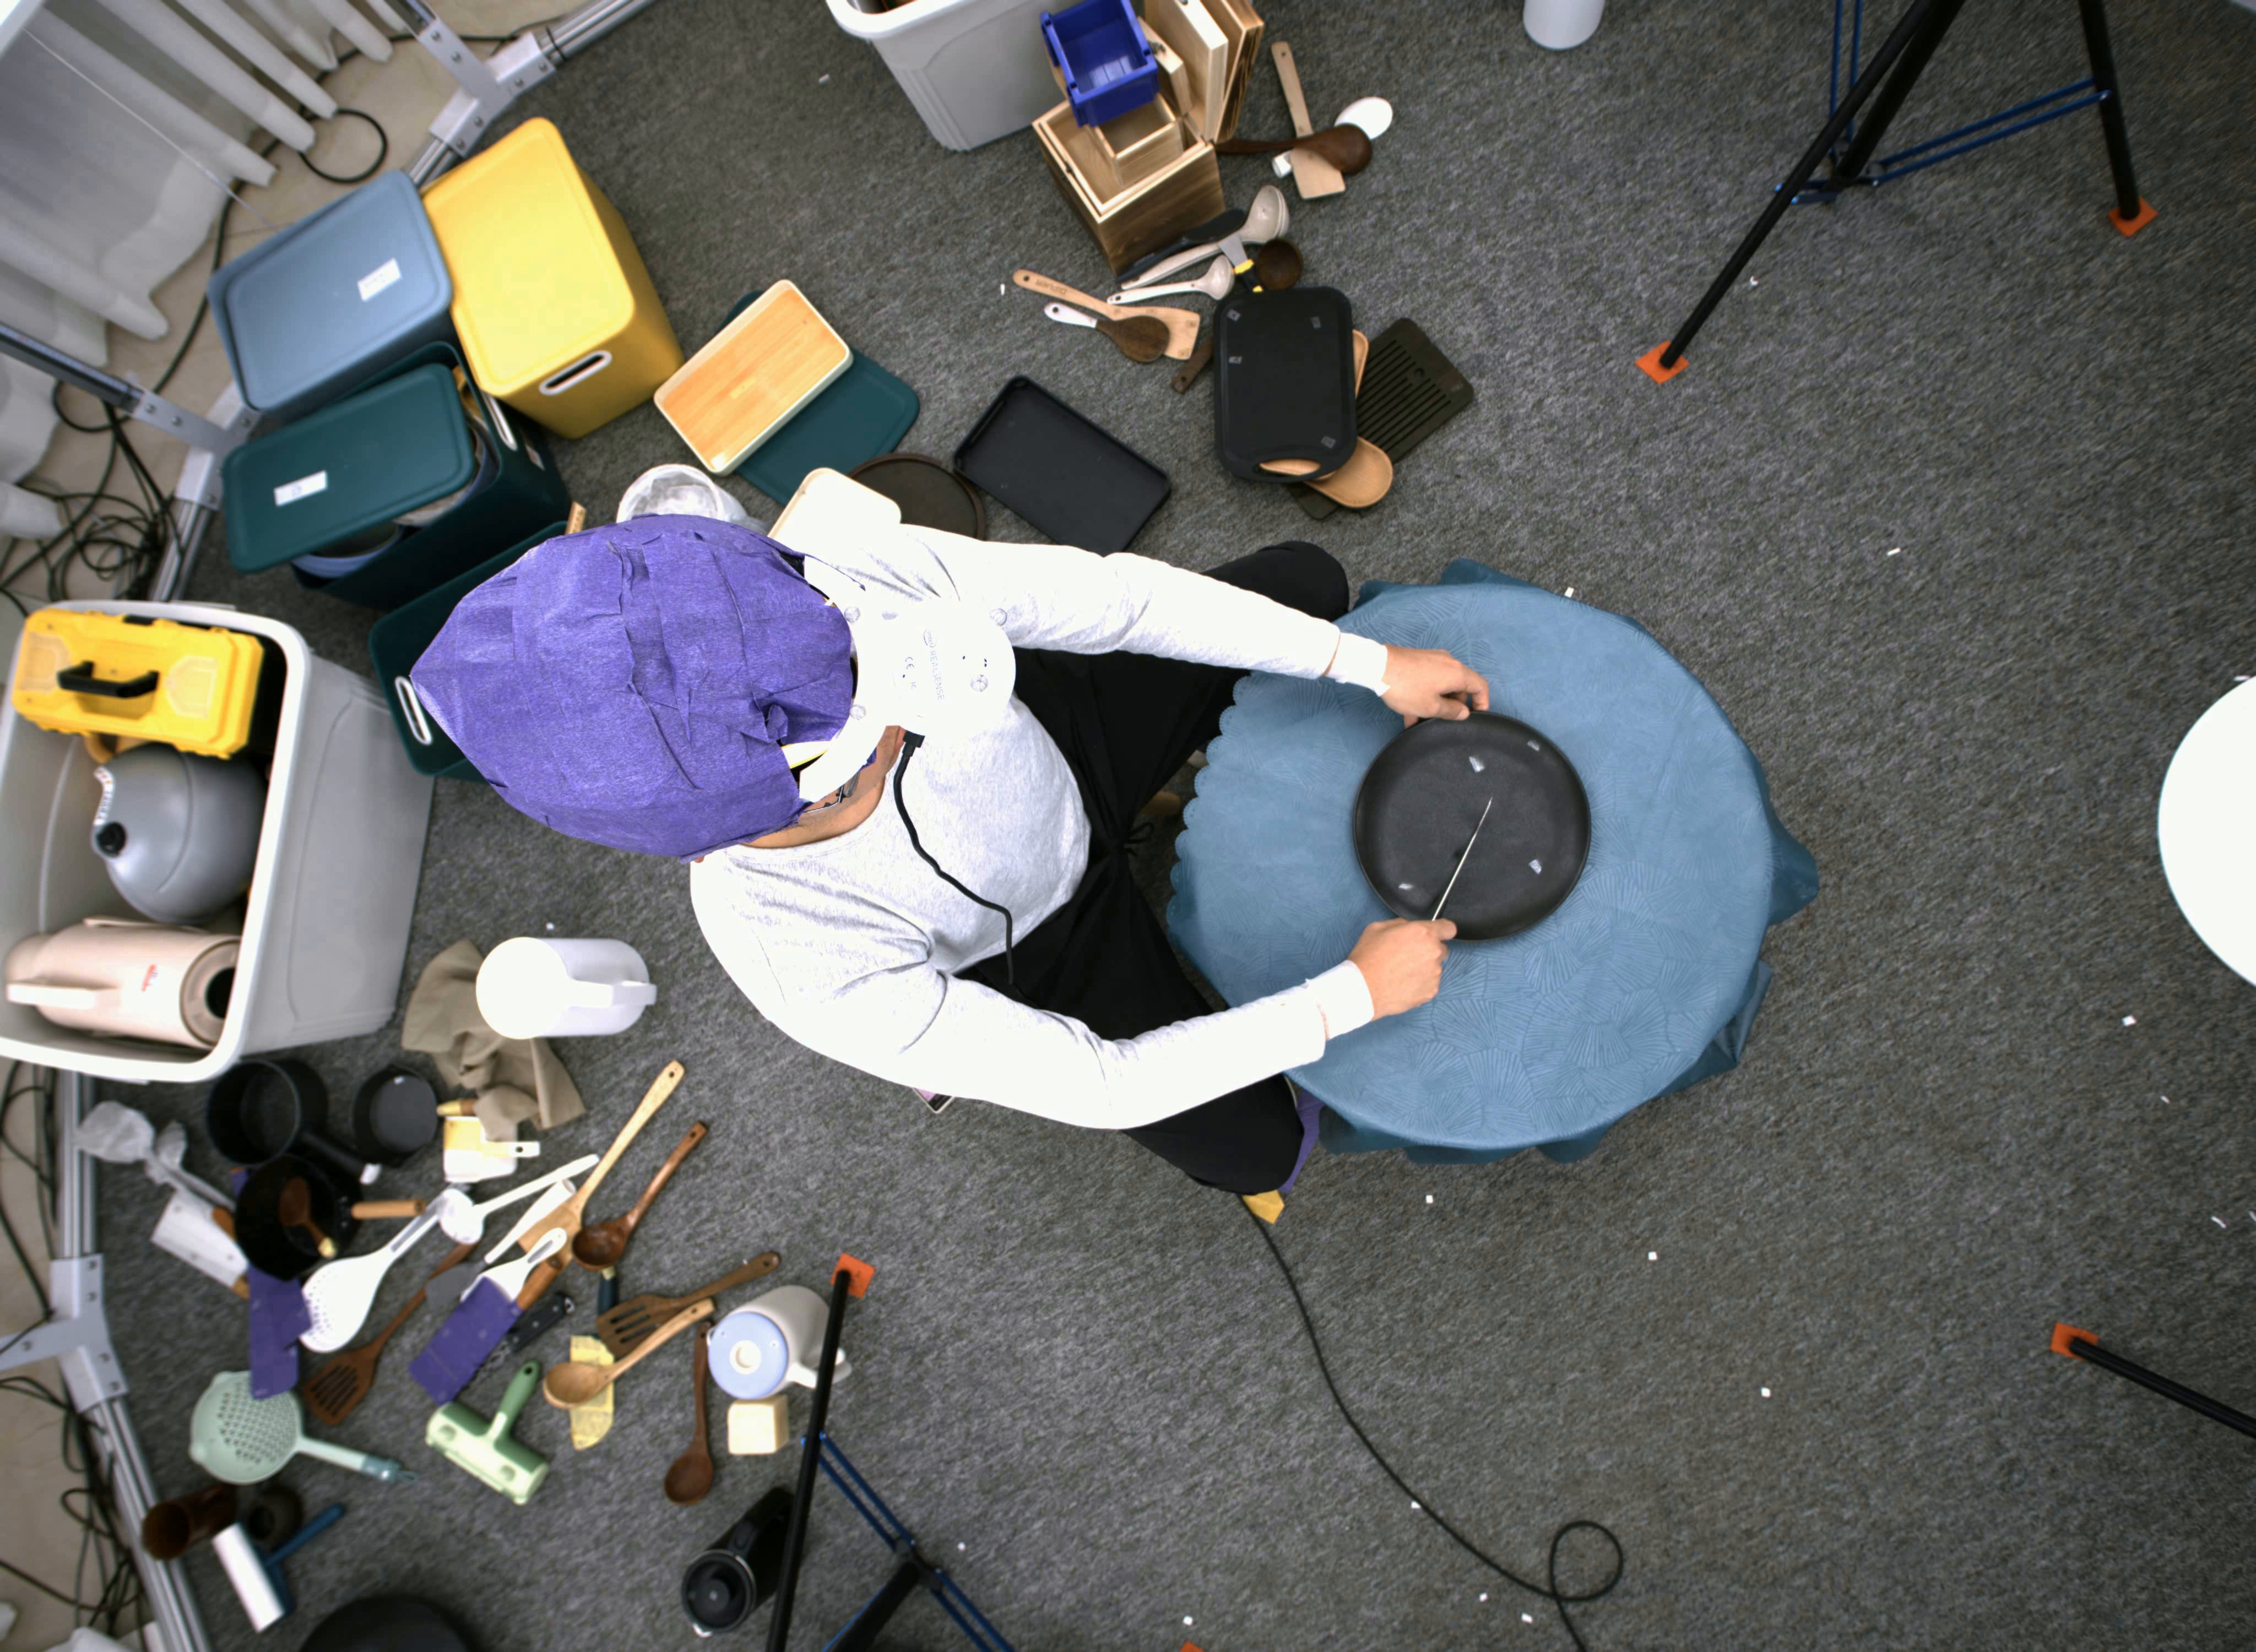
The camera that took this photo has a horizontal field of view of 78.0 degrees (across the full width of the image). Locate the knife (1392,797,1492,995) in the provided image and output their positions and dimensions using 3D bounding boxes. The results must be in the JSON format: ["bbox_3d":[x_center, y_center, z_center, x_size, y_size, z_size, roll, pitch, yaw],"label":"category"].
[{"bbox_3d":[0.326,0.065,1.408,0.016,0.025,0.235,28,76,7],"label":"knife"}]

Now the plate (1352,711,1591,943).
[{"bbox_3d":[0.357,-0.001,1.436,0.245,0.023,0.243,-1,87,10],"label":"plate"}]
